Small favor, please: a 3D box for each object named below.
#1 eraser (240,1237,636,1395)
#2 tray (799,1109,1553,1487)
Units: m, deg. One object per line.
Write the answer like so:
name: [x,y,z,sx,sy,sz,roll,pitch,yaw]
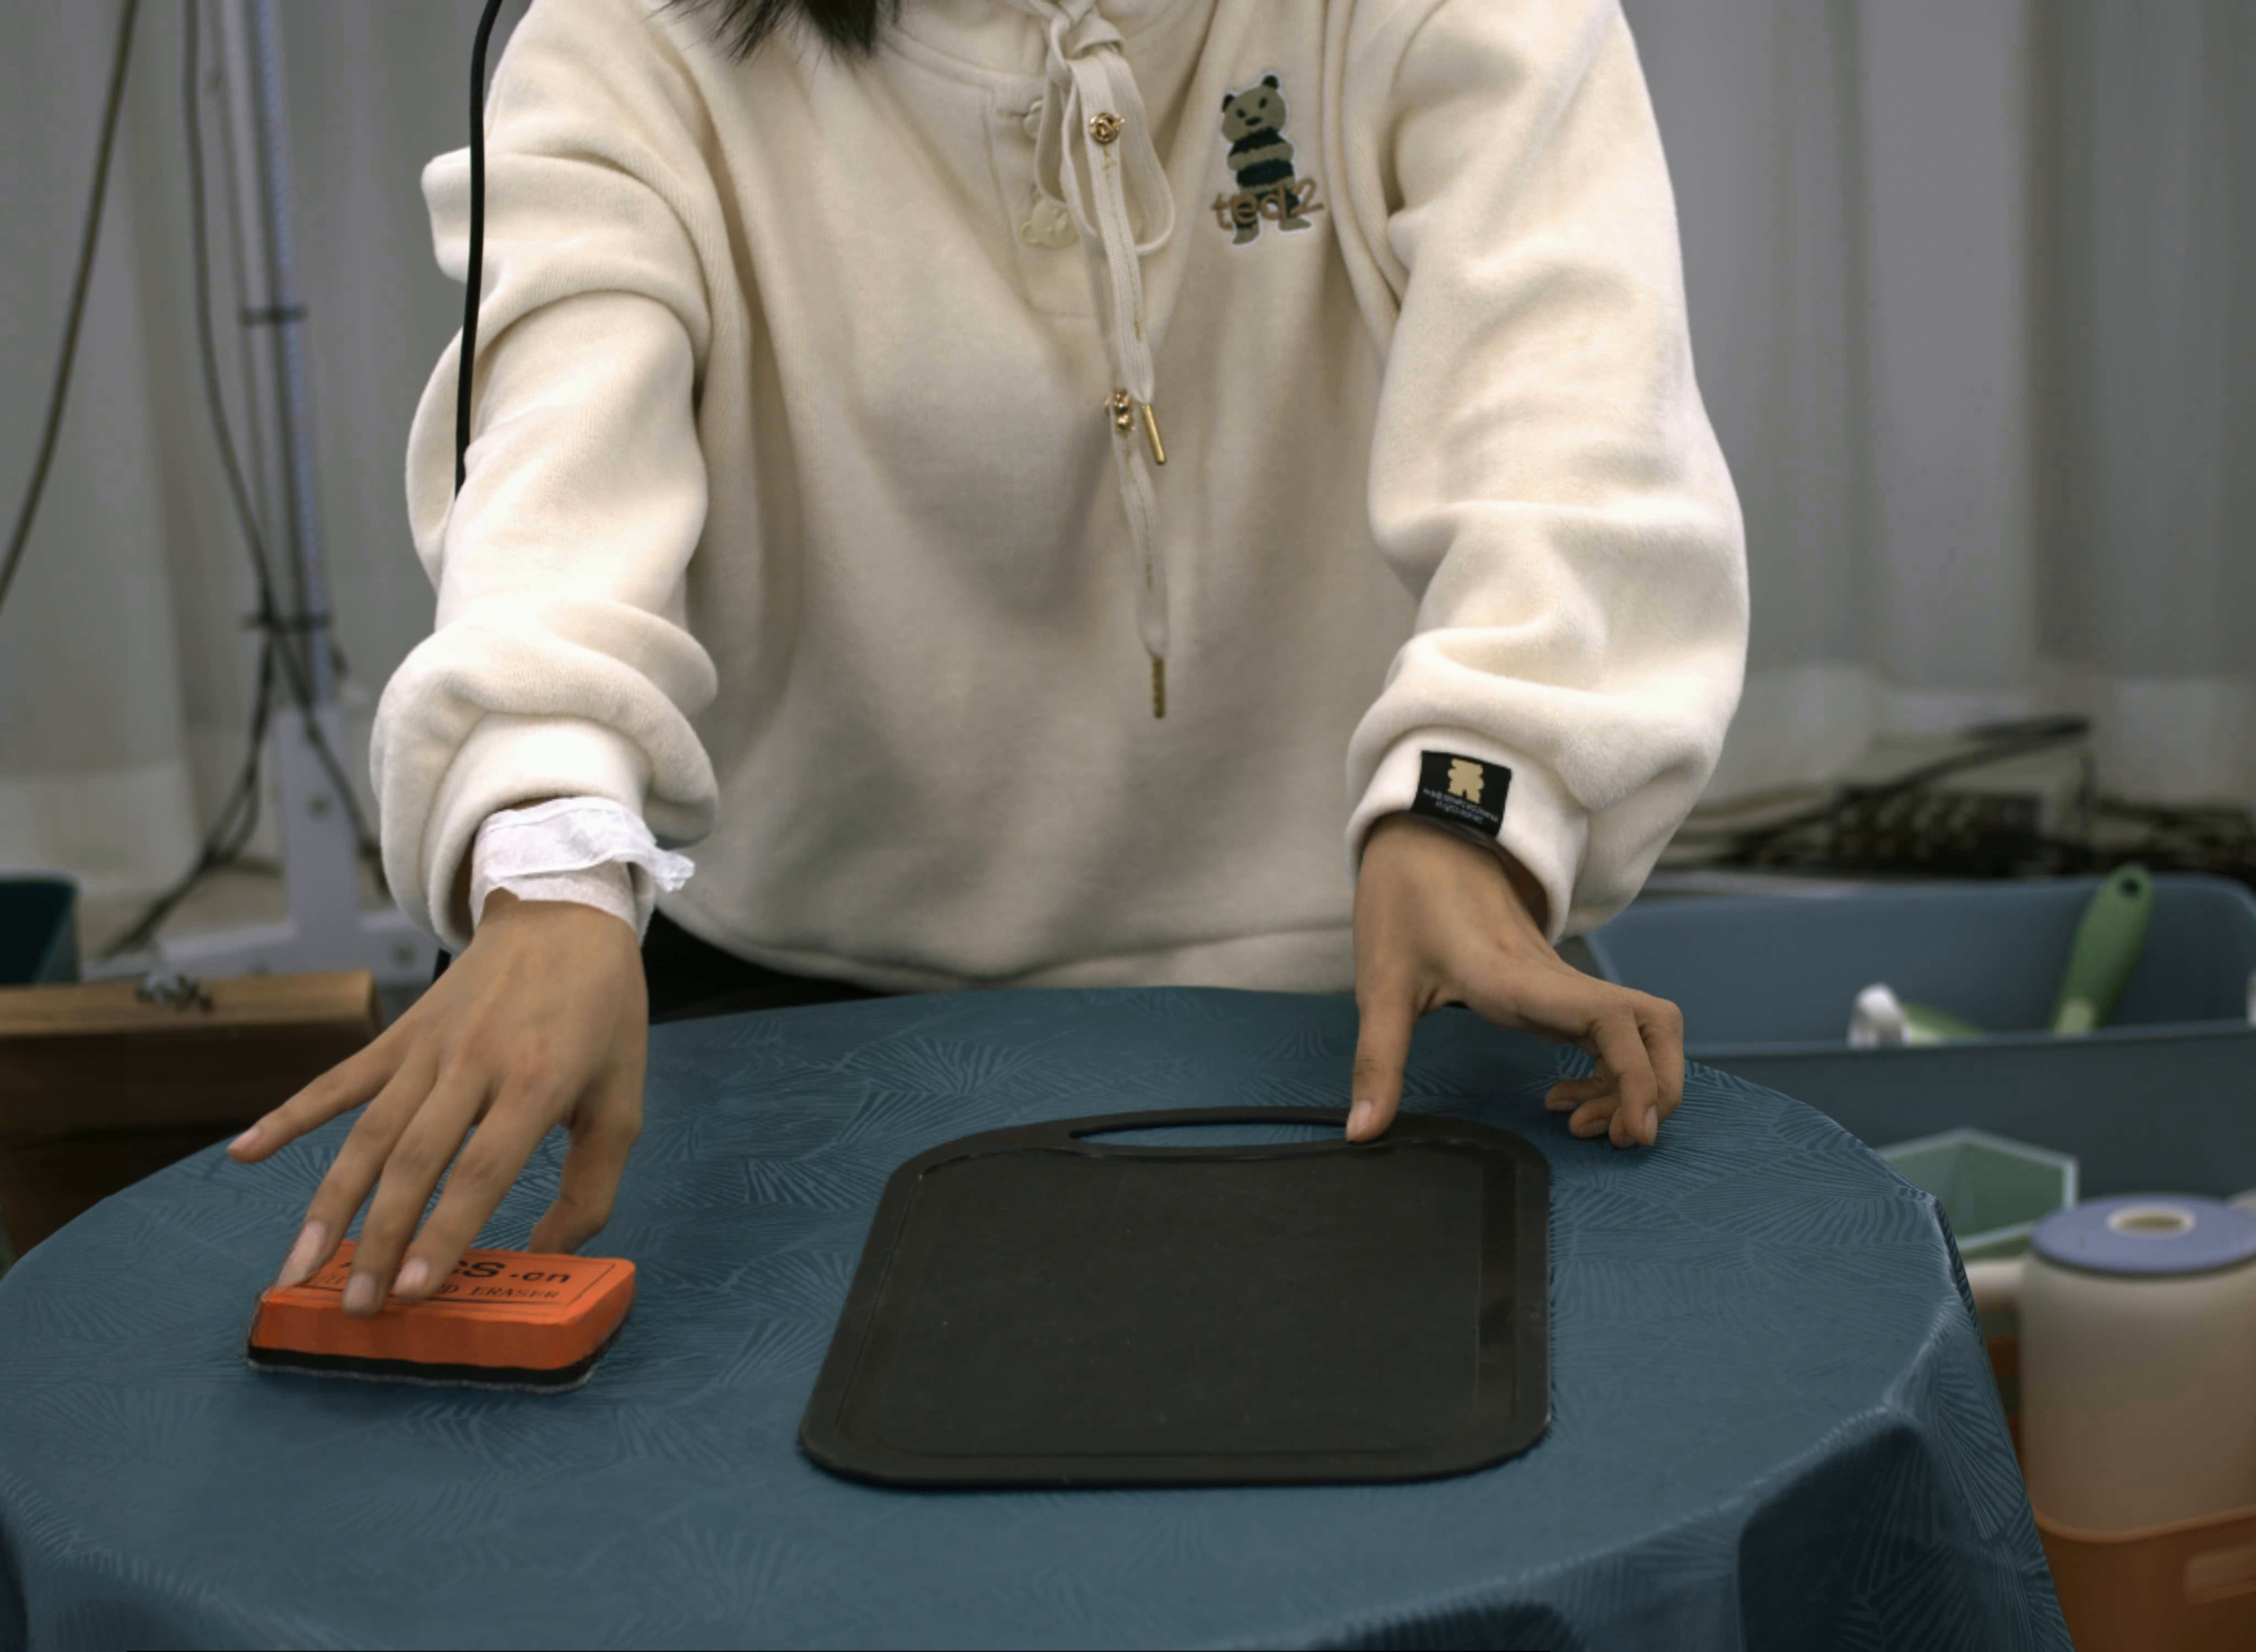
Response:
eraser: [-0.201,0.143,1.601,0.108,0.023,0.059,3,16,19]
tray: [0.021,0.134,1.626,0.210,0.010,0.327,-1,15,5]
